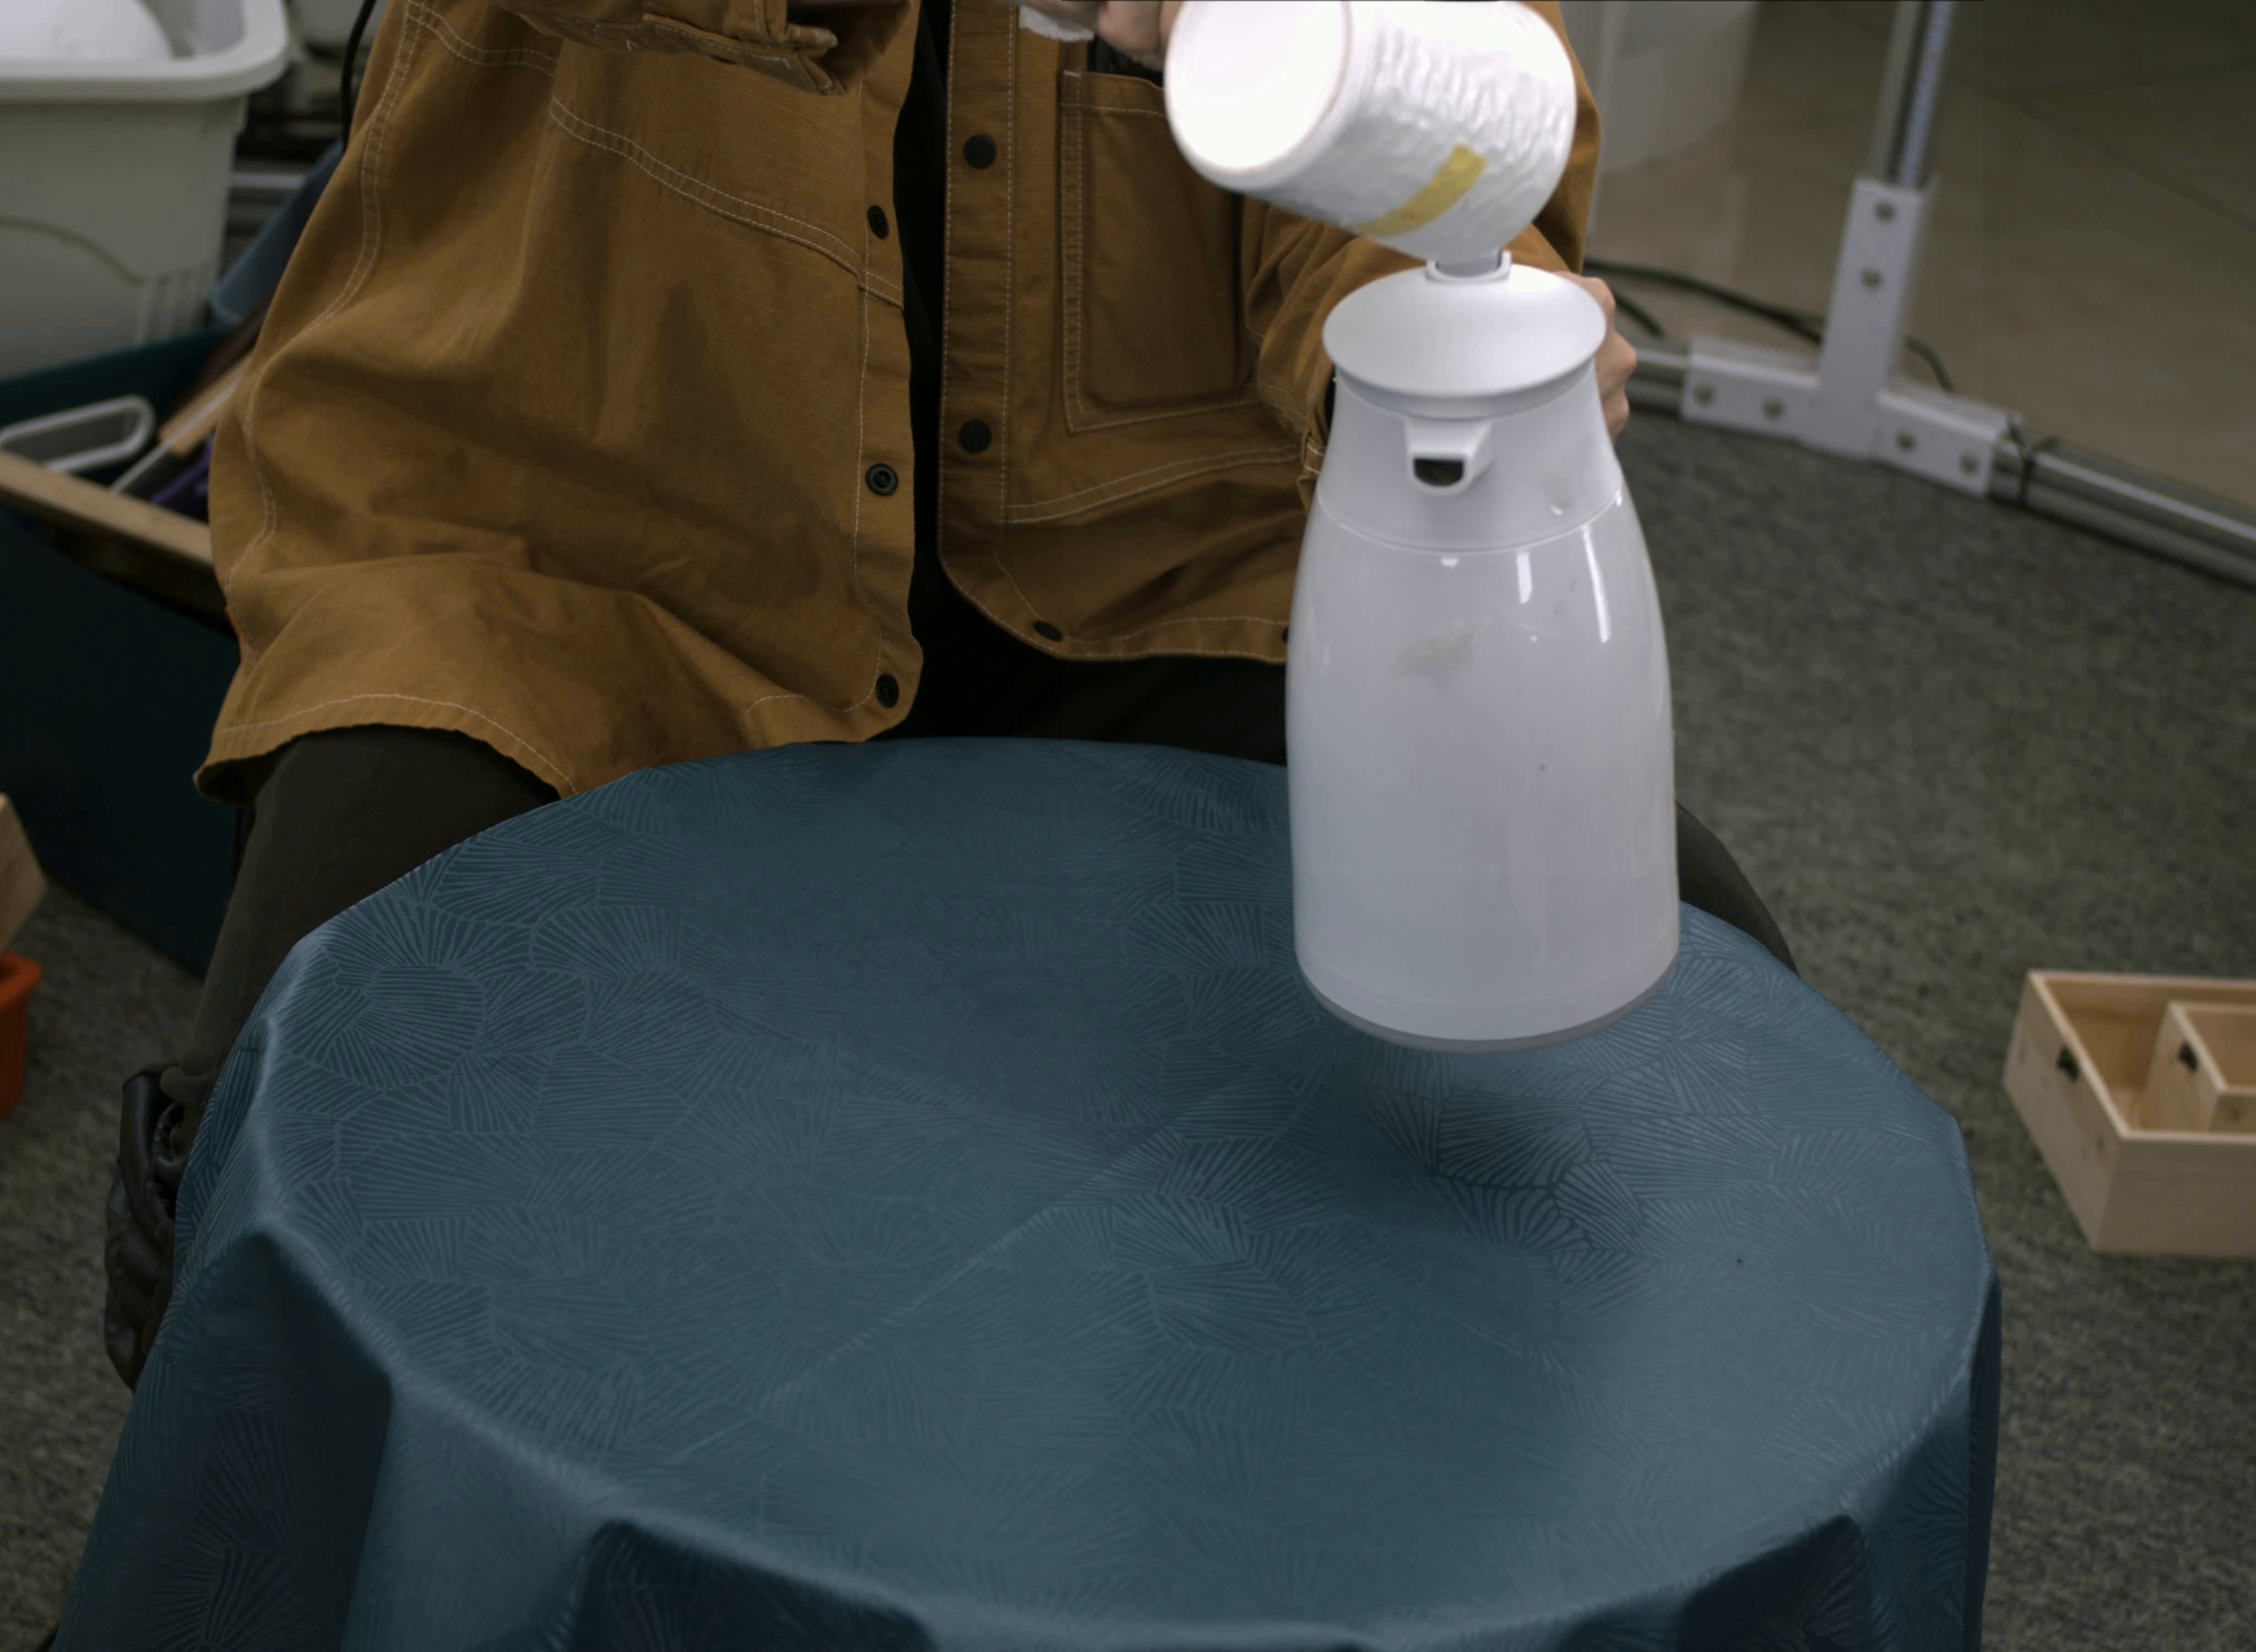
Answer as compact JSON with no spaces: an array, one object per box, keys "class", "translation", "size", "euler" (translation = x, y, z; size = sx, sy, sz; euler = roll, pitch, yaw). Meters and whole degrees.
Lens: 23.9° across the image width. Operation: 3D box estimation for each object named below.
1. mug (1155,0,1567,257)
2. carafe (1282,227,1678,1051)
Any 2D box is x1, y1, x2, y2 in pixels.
[{"class":"mug","translation":[0.062,-0.237,1.639],"size":[0.101,0.085,0.119],"euler":[12,30,-46]},{"class":"carafe","translation":[0.116,-0.073,1.784],"size":[0.132,0.247,0.168],"euler":[1,31,10]}]
